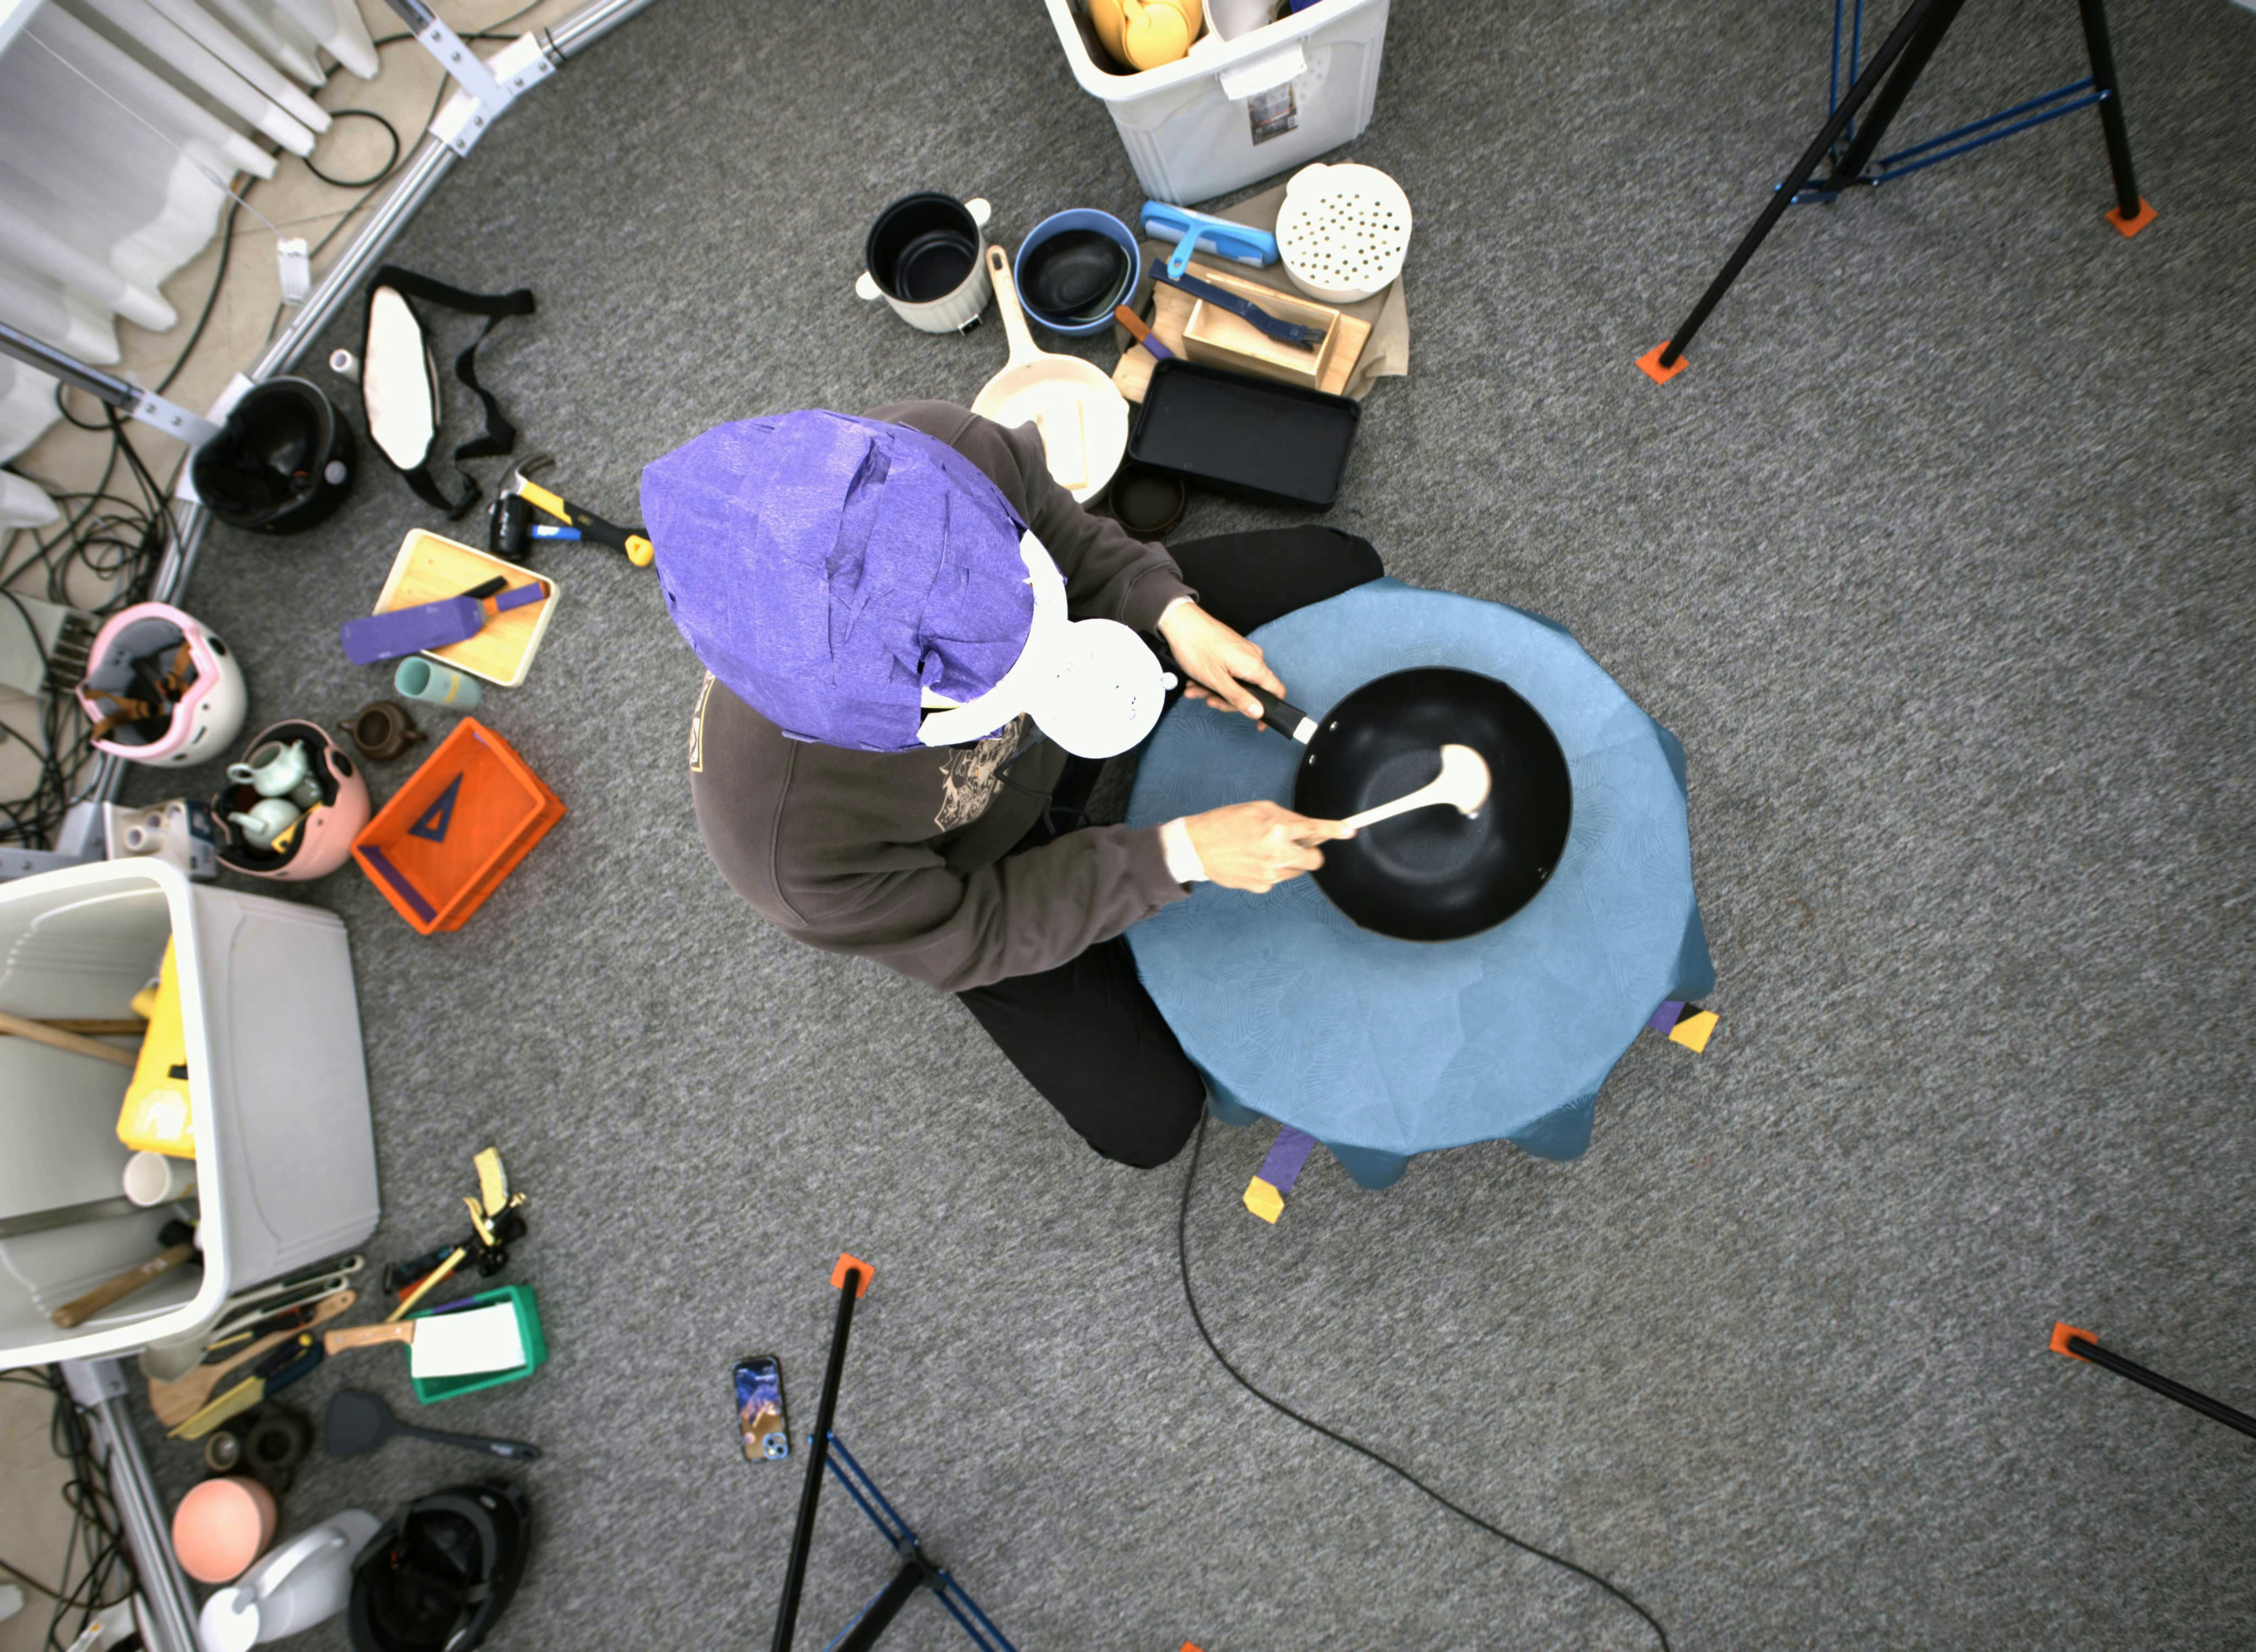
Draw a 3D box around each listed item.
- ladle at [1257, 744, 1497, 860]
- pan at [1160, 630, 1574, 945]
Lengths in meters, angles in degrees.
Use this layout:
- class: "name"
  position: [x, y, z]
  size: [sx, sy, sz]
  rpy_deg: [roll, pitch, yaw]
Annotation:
- class: "ladle"
  position: [0.240, -0.018, 1.361]
  size: [0.254, 0.072, 0.073]
  rpy_deg: [-18, 102, -2]
- class: "pan"
  position: [0.232, -0.066, 1.429]
  size: [0.462, 0.087, 0.289]
  rpy_deg: [32, 93, 12]
